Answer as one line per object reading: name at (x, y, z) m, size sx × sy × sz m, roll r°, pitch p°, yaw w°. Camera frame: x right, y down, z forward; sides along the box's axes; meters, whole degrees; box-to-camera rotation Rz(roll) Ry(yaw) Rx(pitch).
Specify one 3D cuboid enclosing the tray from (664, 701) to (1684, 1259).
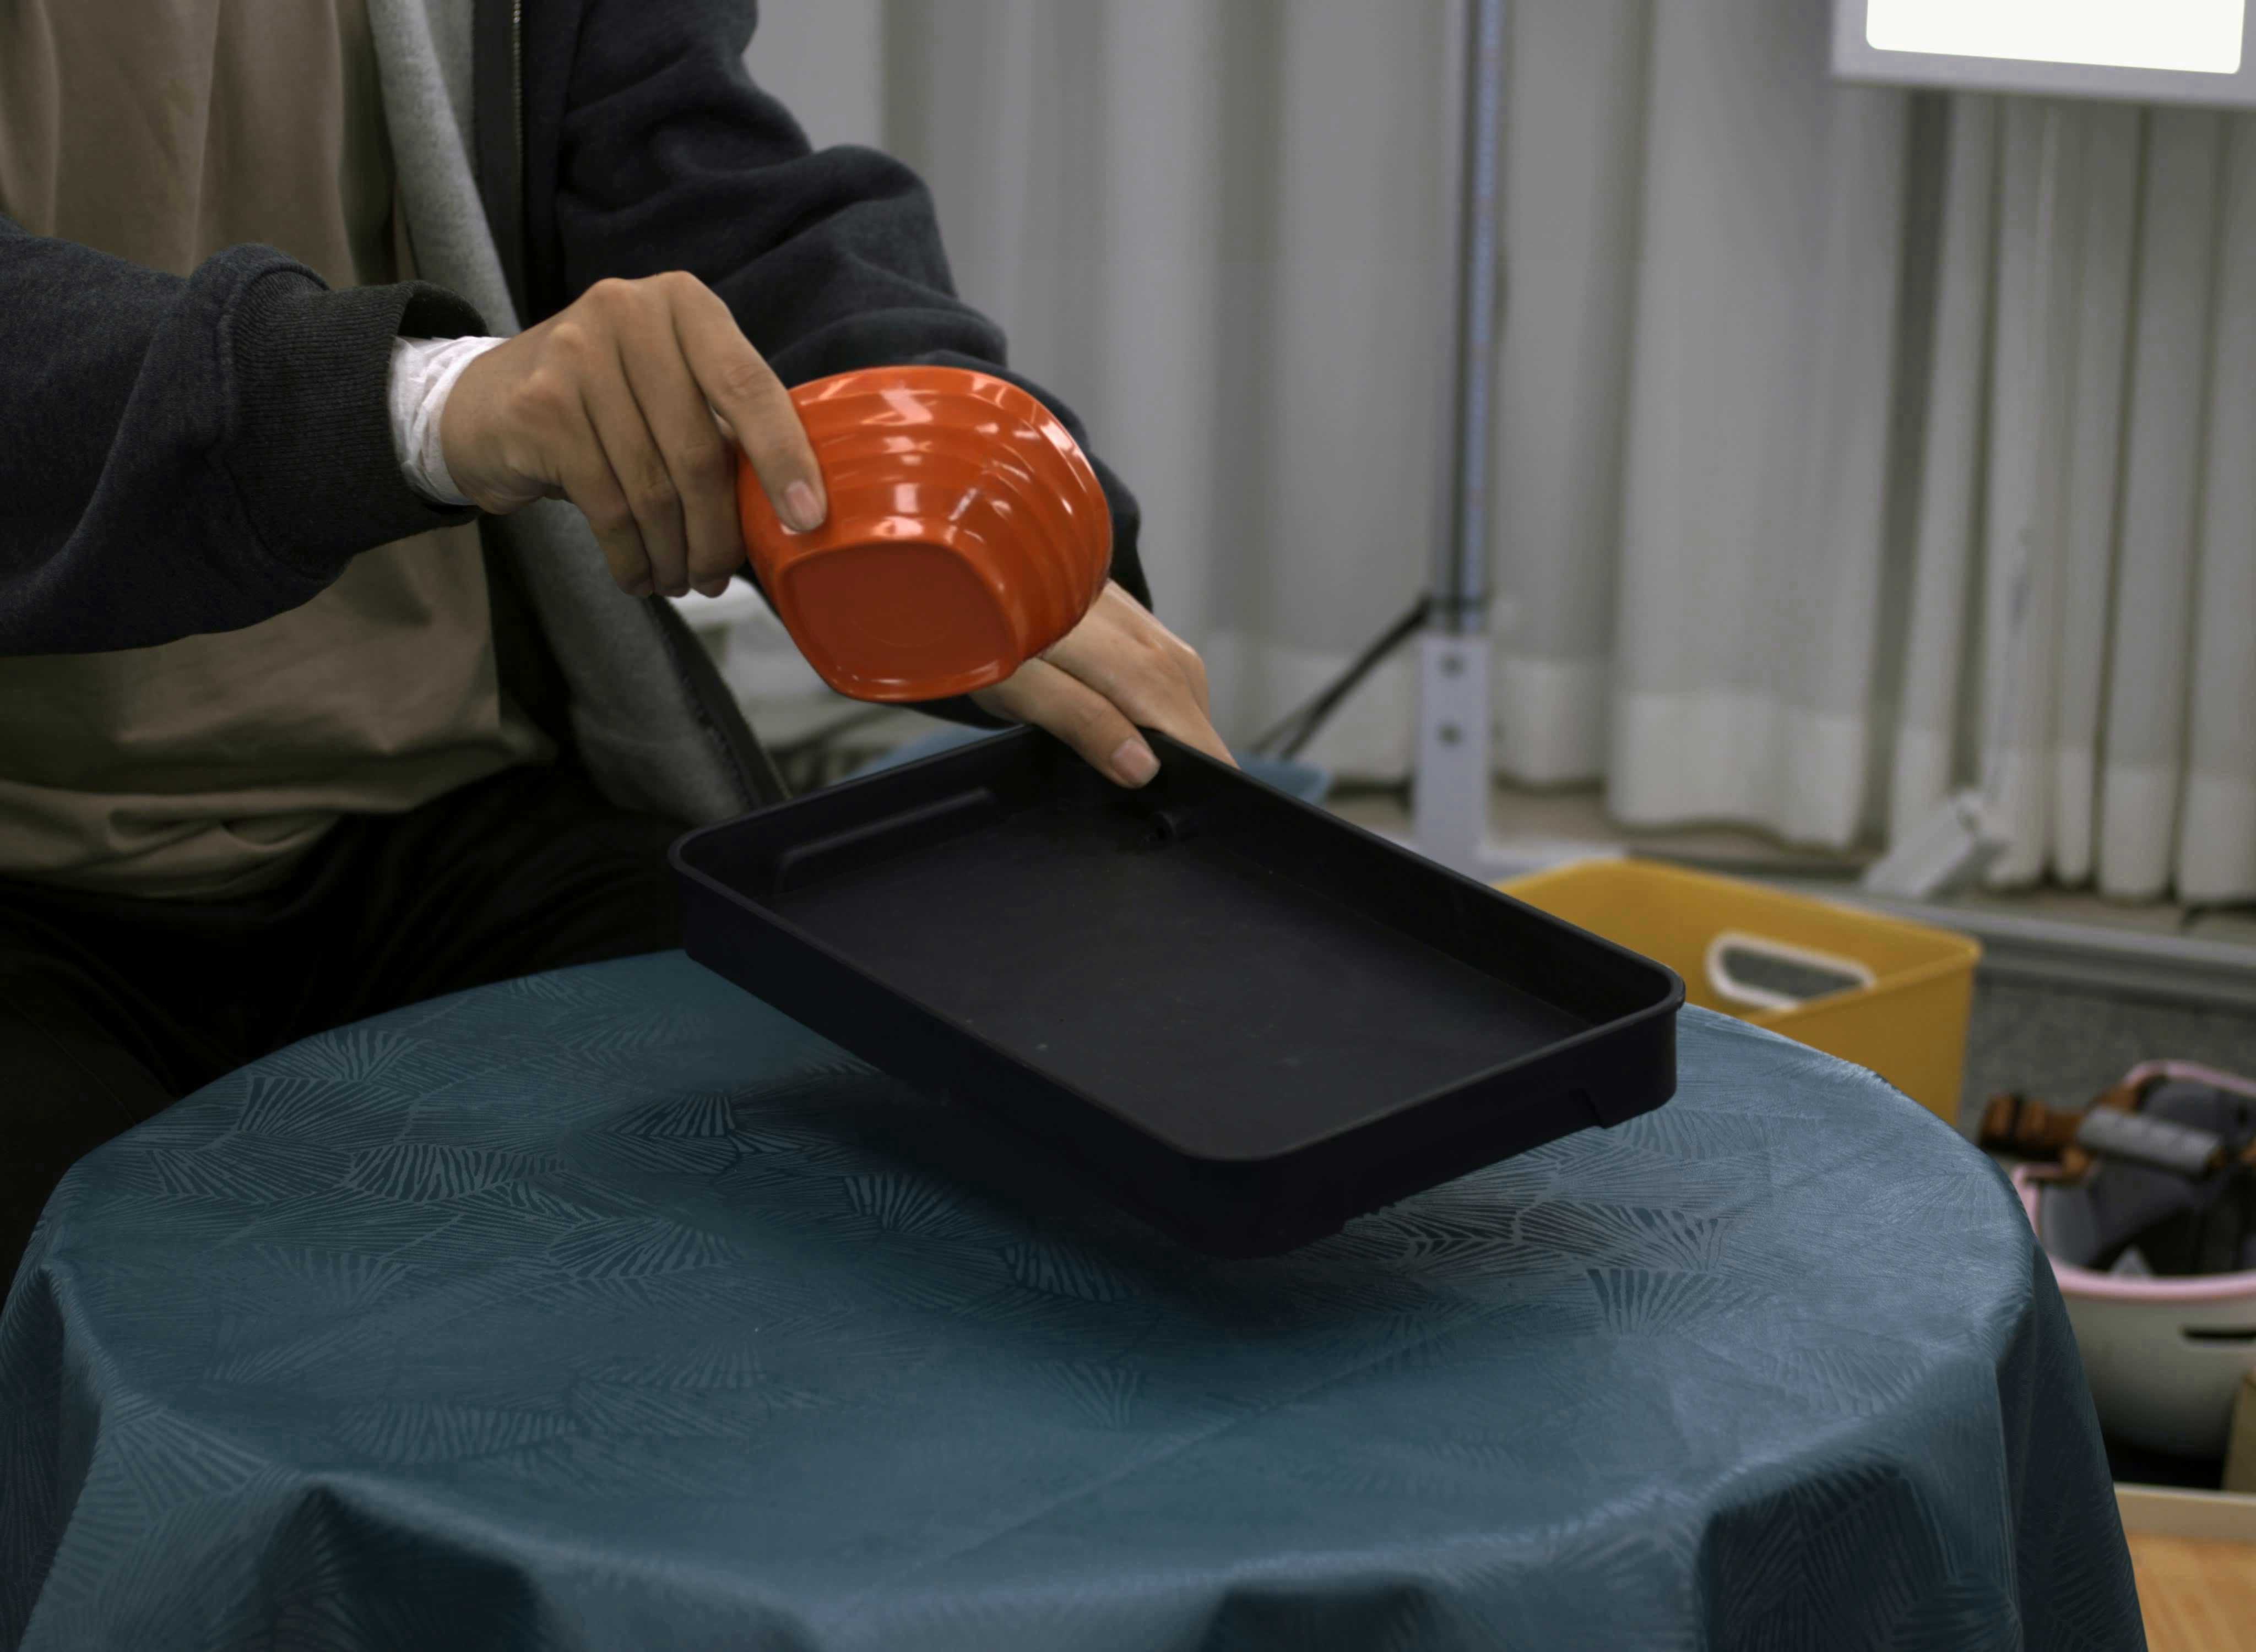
tray at (0.009, 0.041, 1.633) m, size 0.185 × 0.037 × 0.313 m, roll -18°, pitch 28°, yaw -32°

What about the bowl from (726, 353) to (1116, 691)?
bowl at (-0.063, -0.080, 1.524) m, size 0.118 × 0.120 × 0.051 m, roll 3°, pitch 52°, yaw 8°
